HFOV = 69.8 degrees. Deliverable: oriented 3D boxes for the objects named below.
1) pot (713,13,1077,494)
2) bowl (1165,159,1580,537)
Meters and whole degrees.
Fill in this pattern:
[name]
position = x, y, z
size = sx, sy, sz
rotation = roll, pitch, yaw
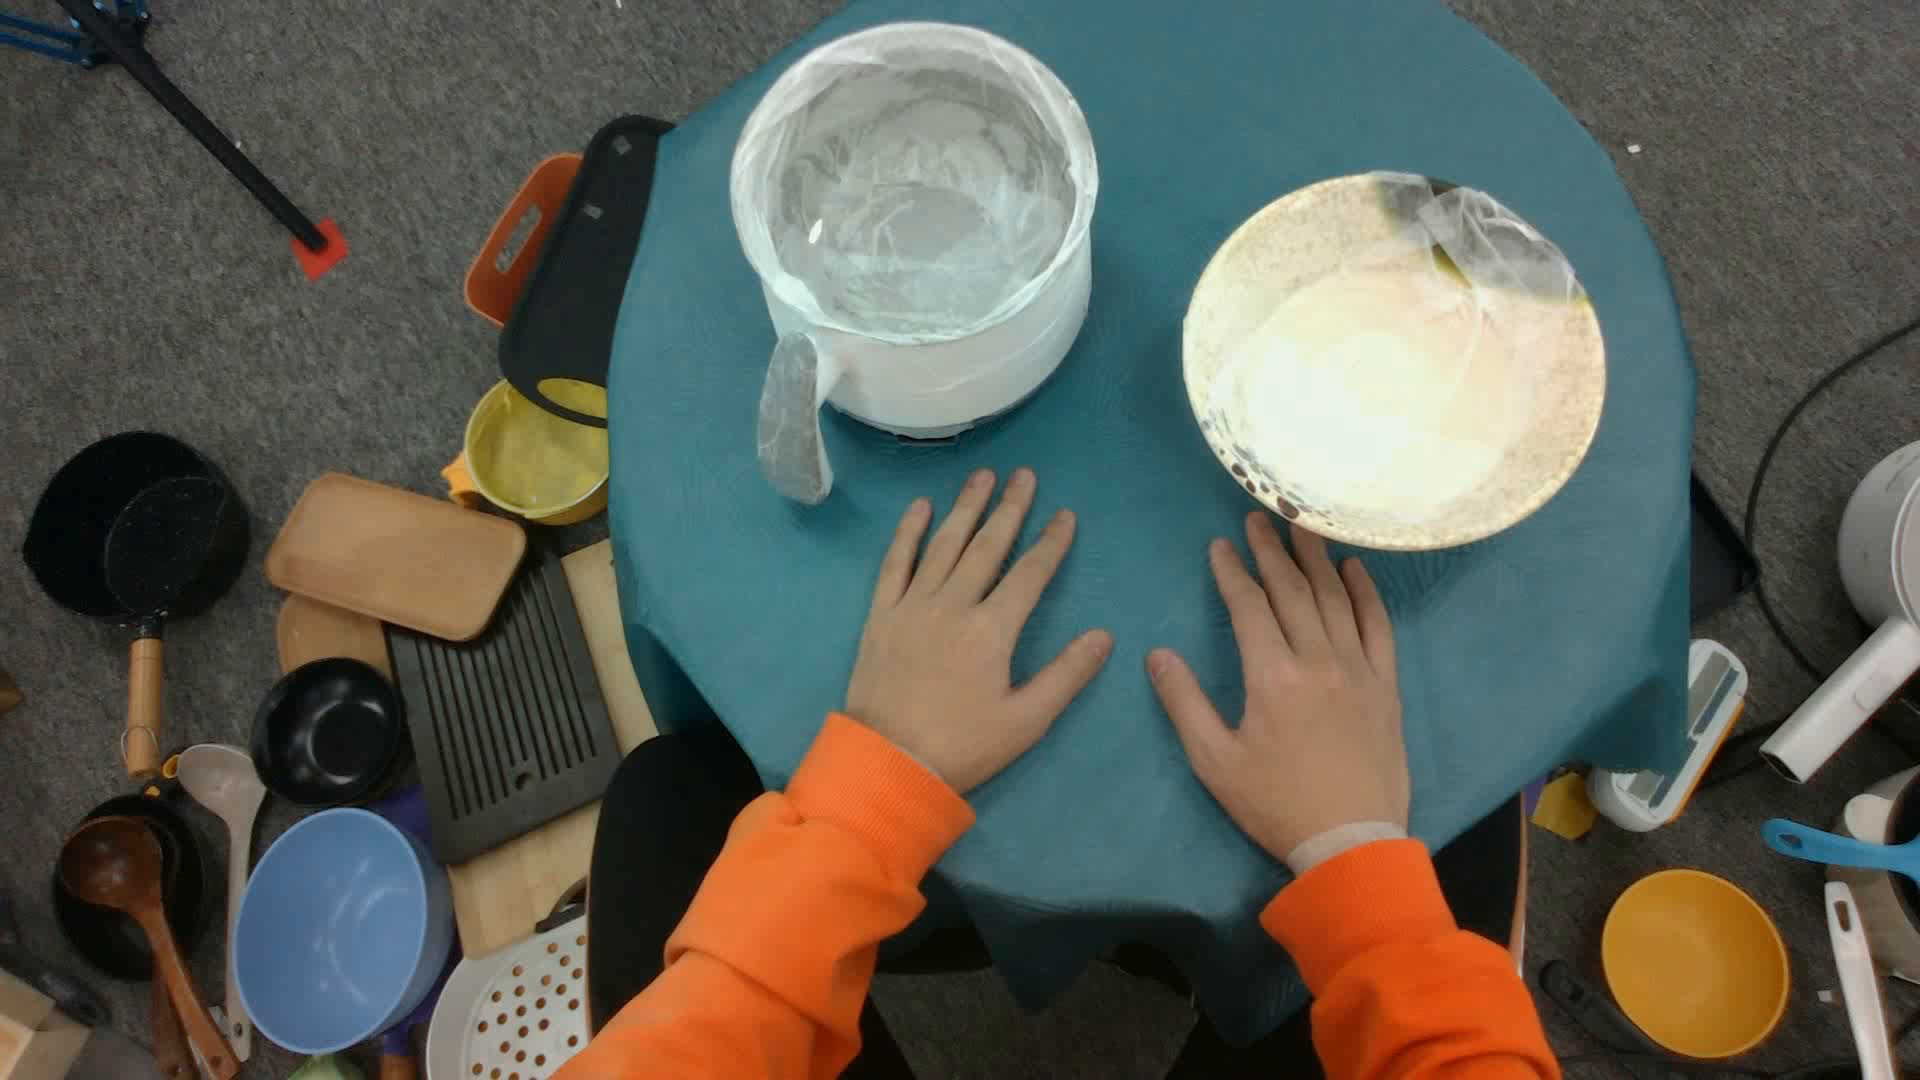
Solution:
[pot]
position = -0.042, -0.137, 0.715
size = 0.178, 0.136, 0.234
rotation = 27, 75, 12
[bowl]
position = 0.207, -0.090, 0.721
size = 0.204, 0.078, 0.204
rotation = -1, 74, 3
